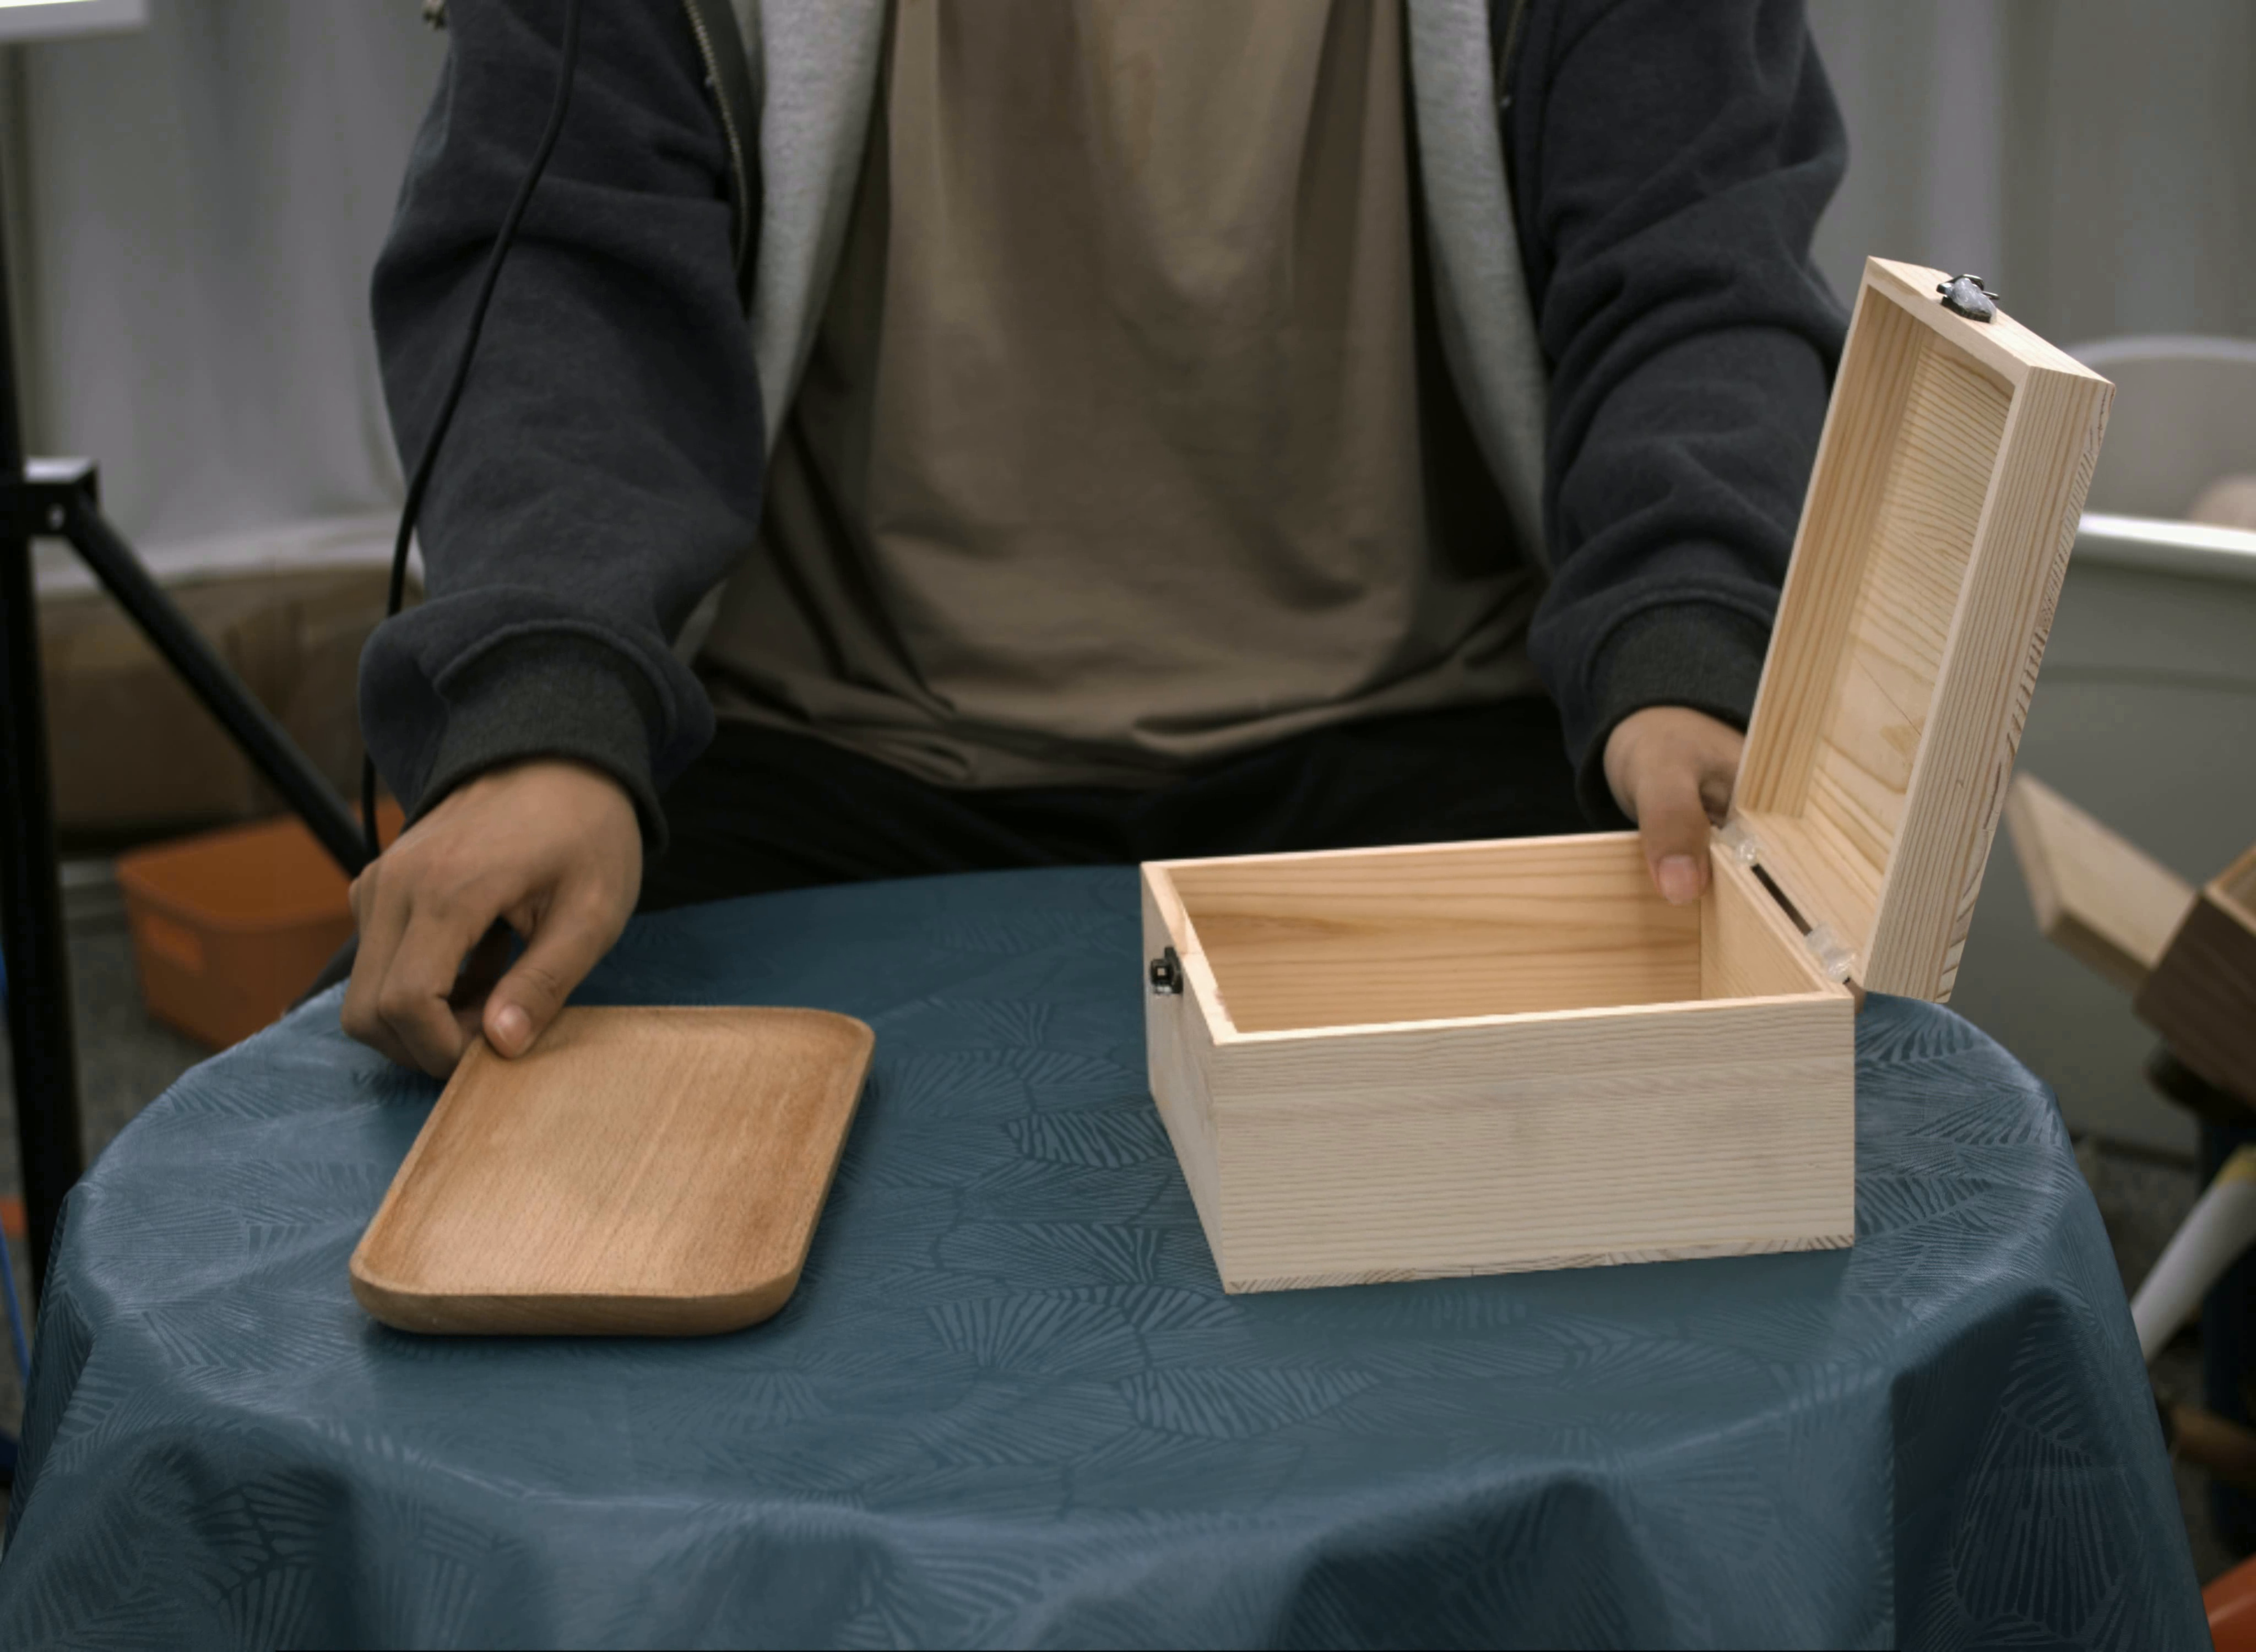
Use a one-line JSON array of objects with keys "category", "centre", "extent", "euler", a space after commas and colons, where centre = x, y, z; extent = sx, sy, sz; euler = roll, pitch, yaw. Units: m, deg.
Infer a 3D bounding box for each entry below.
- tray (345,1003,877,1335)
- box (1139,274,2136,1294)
[{"category": "tray", "centre": [-0.148, 0.099, 1.579], "extent": [0.130, 0.023, 0.250], "euler": [2, 16, 4]}, {"category": "box", "centre": [0.137, -0.019, 1.539], "extent": [0.263, 0.253, 0.183], "euler": [-3, 12, -5]}]
